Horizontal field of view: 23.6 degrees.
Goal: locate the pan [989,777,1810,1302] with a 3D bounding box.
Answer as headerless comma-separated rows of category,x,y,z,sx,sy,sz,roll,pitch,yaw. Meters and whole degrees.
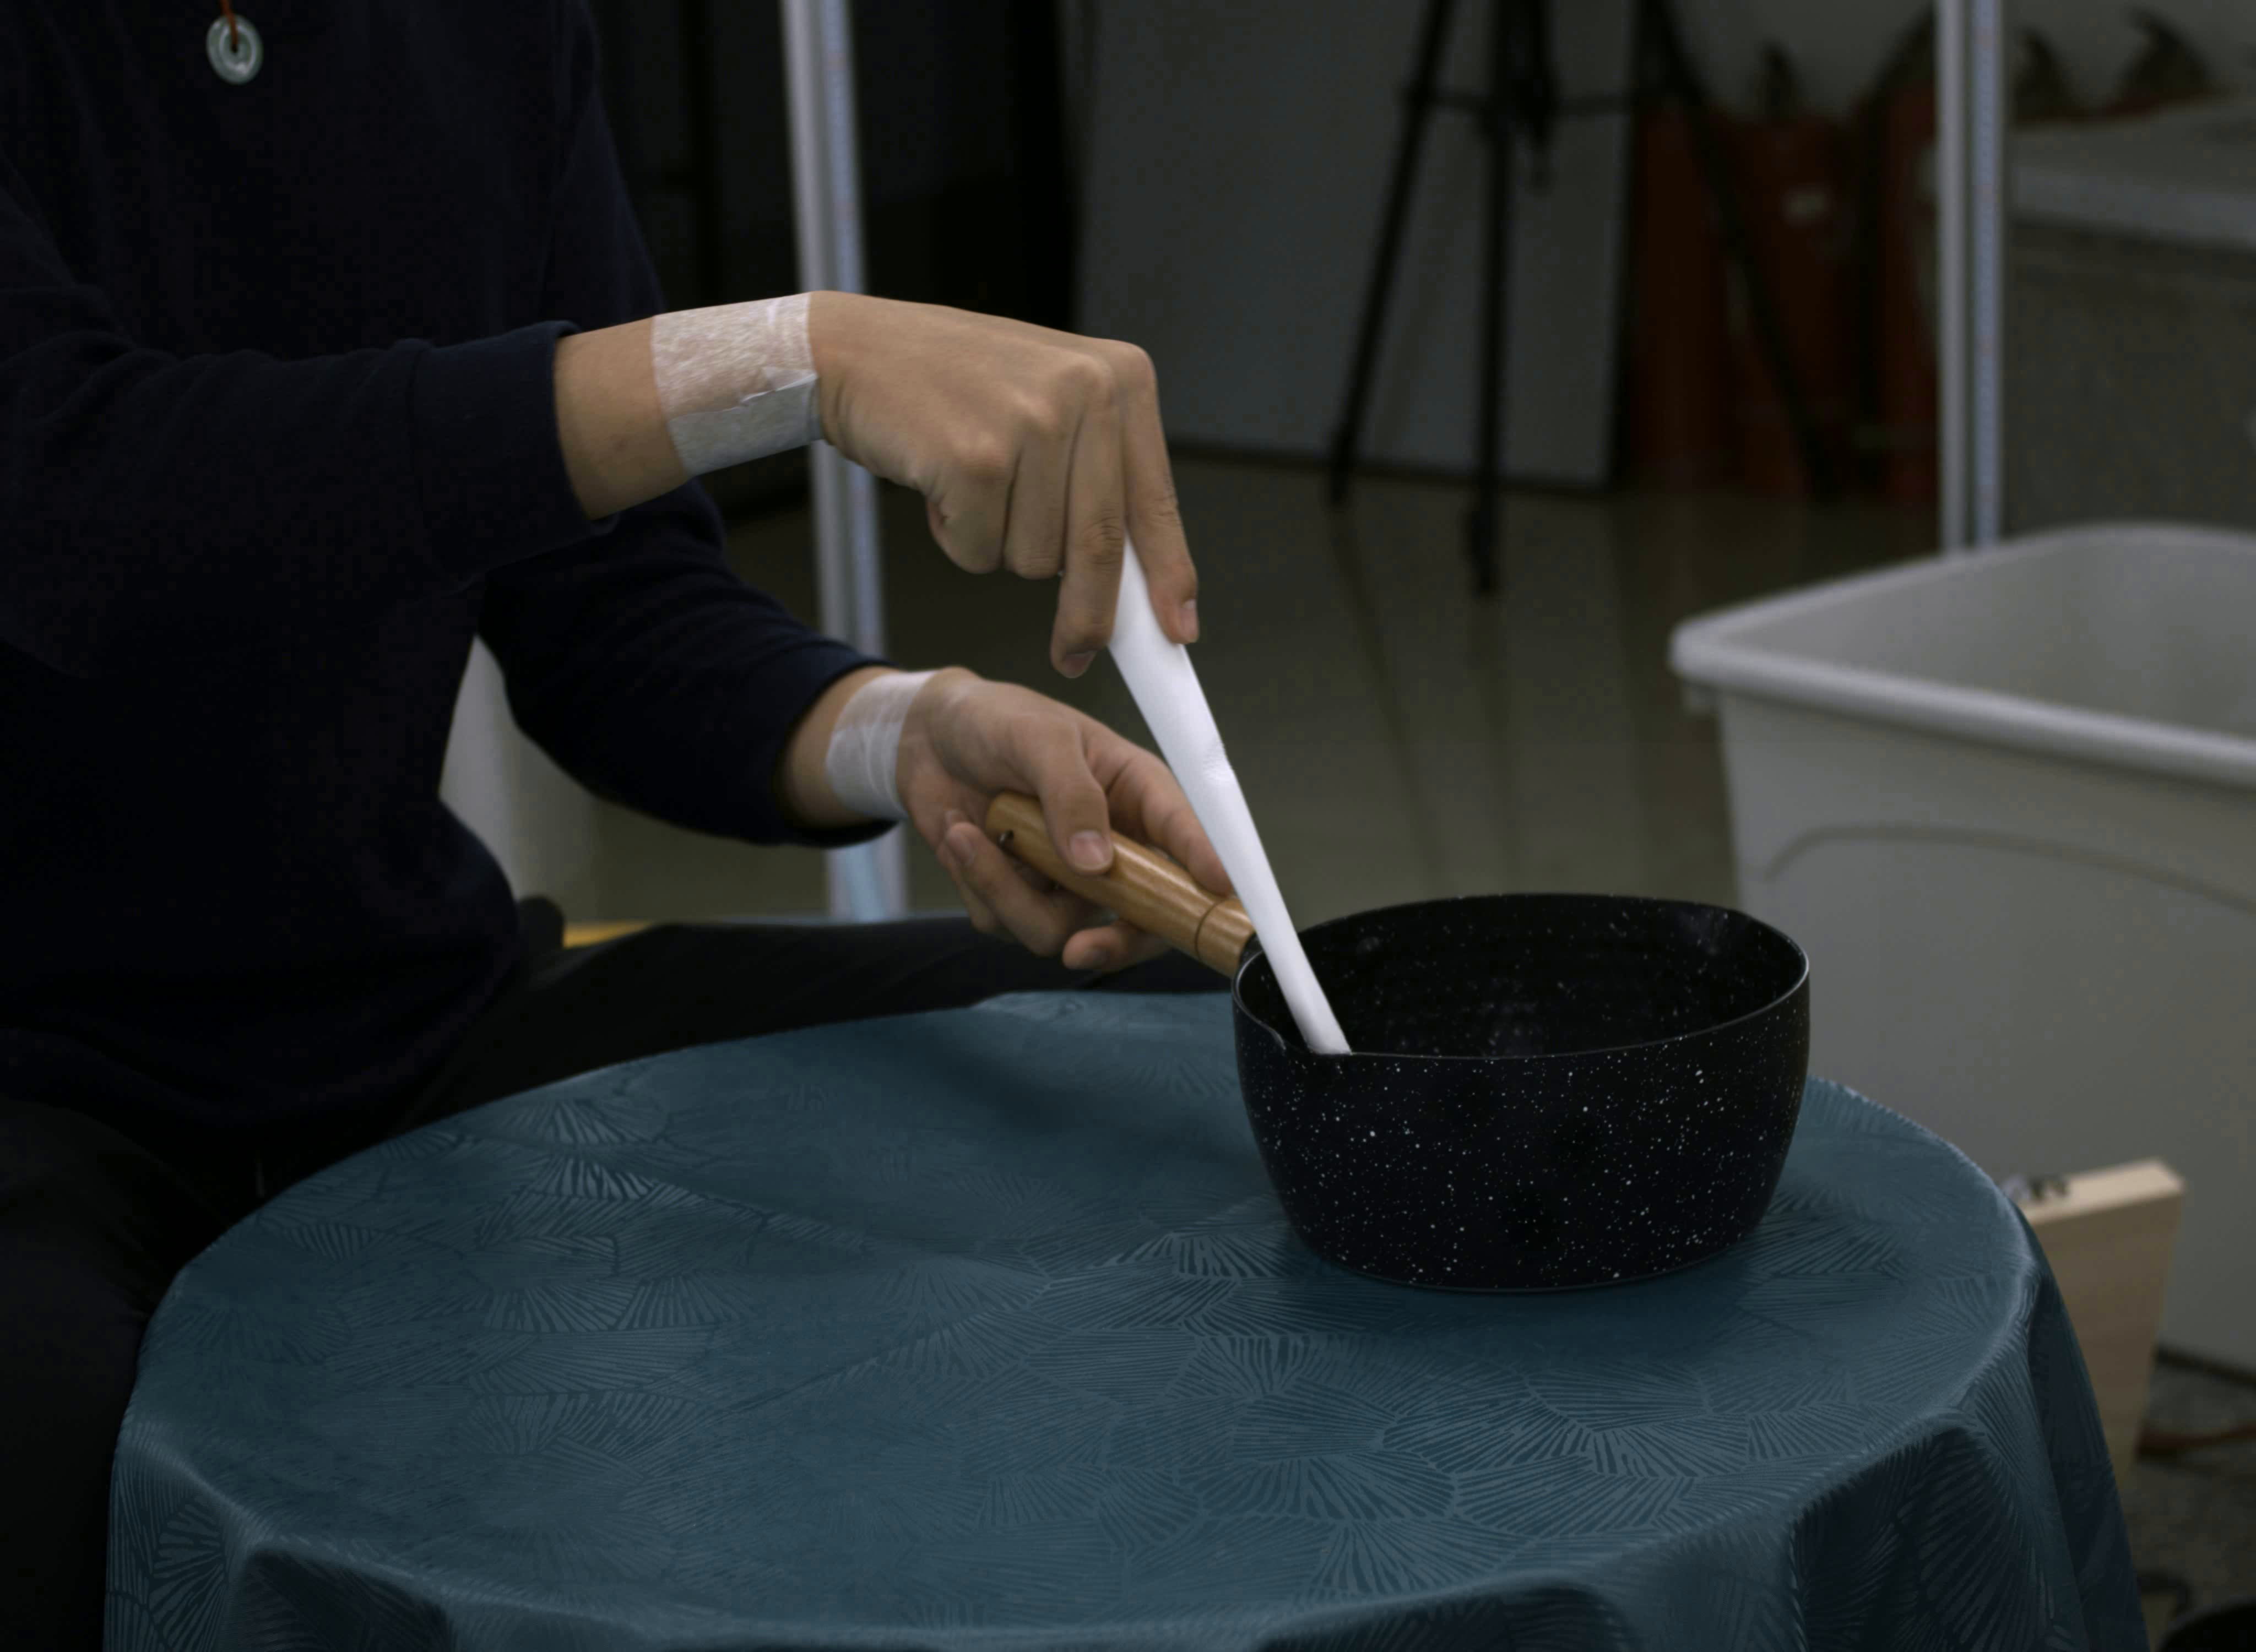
pan,0.071,0.063,1.760,0.203,0.109,0.346,-17,20,-39

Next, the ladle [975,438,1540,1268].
ladle,0.047,0.008,1.675,0.070,0.295,0.088,-28,0,44
